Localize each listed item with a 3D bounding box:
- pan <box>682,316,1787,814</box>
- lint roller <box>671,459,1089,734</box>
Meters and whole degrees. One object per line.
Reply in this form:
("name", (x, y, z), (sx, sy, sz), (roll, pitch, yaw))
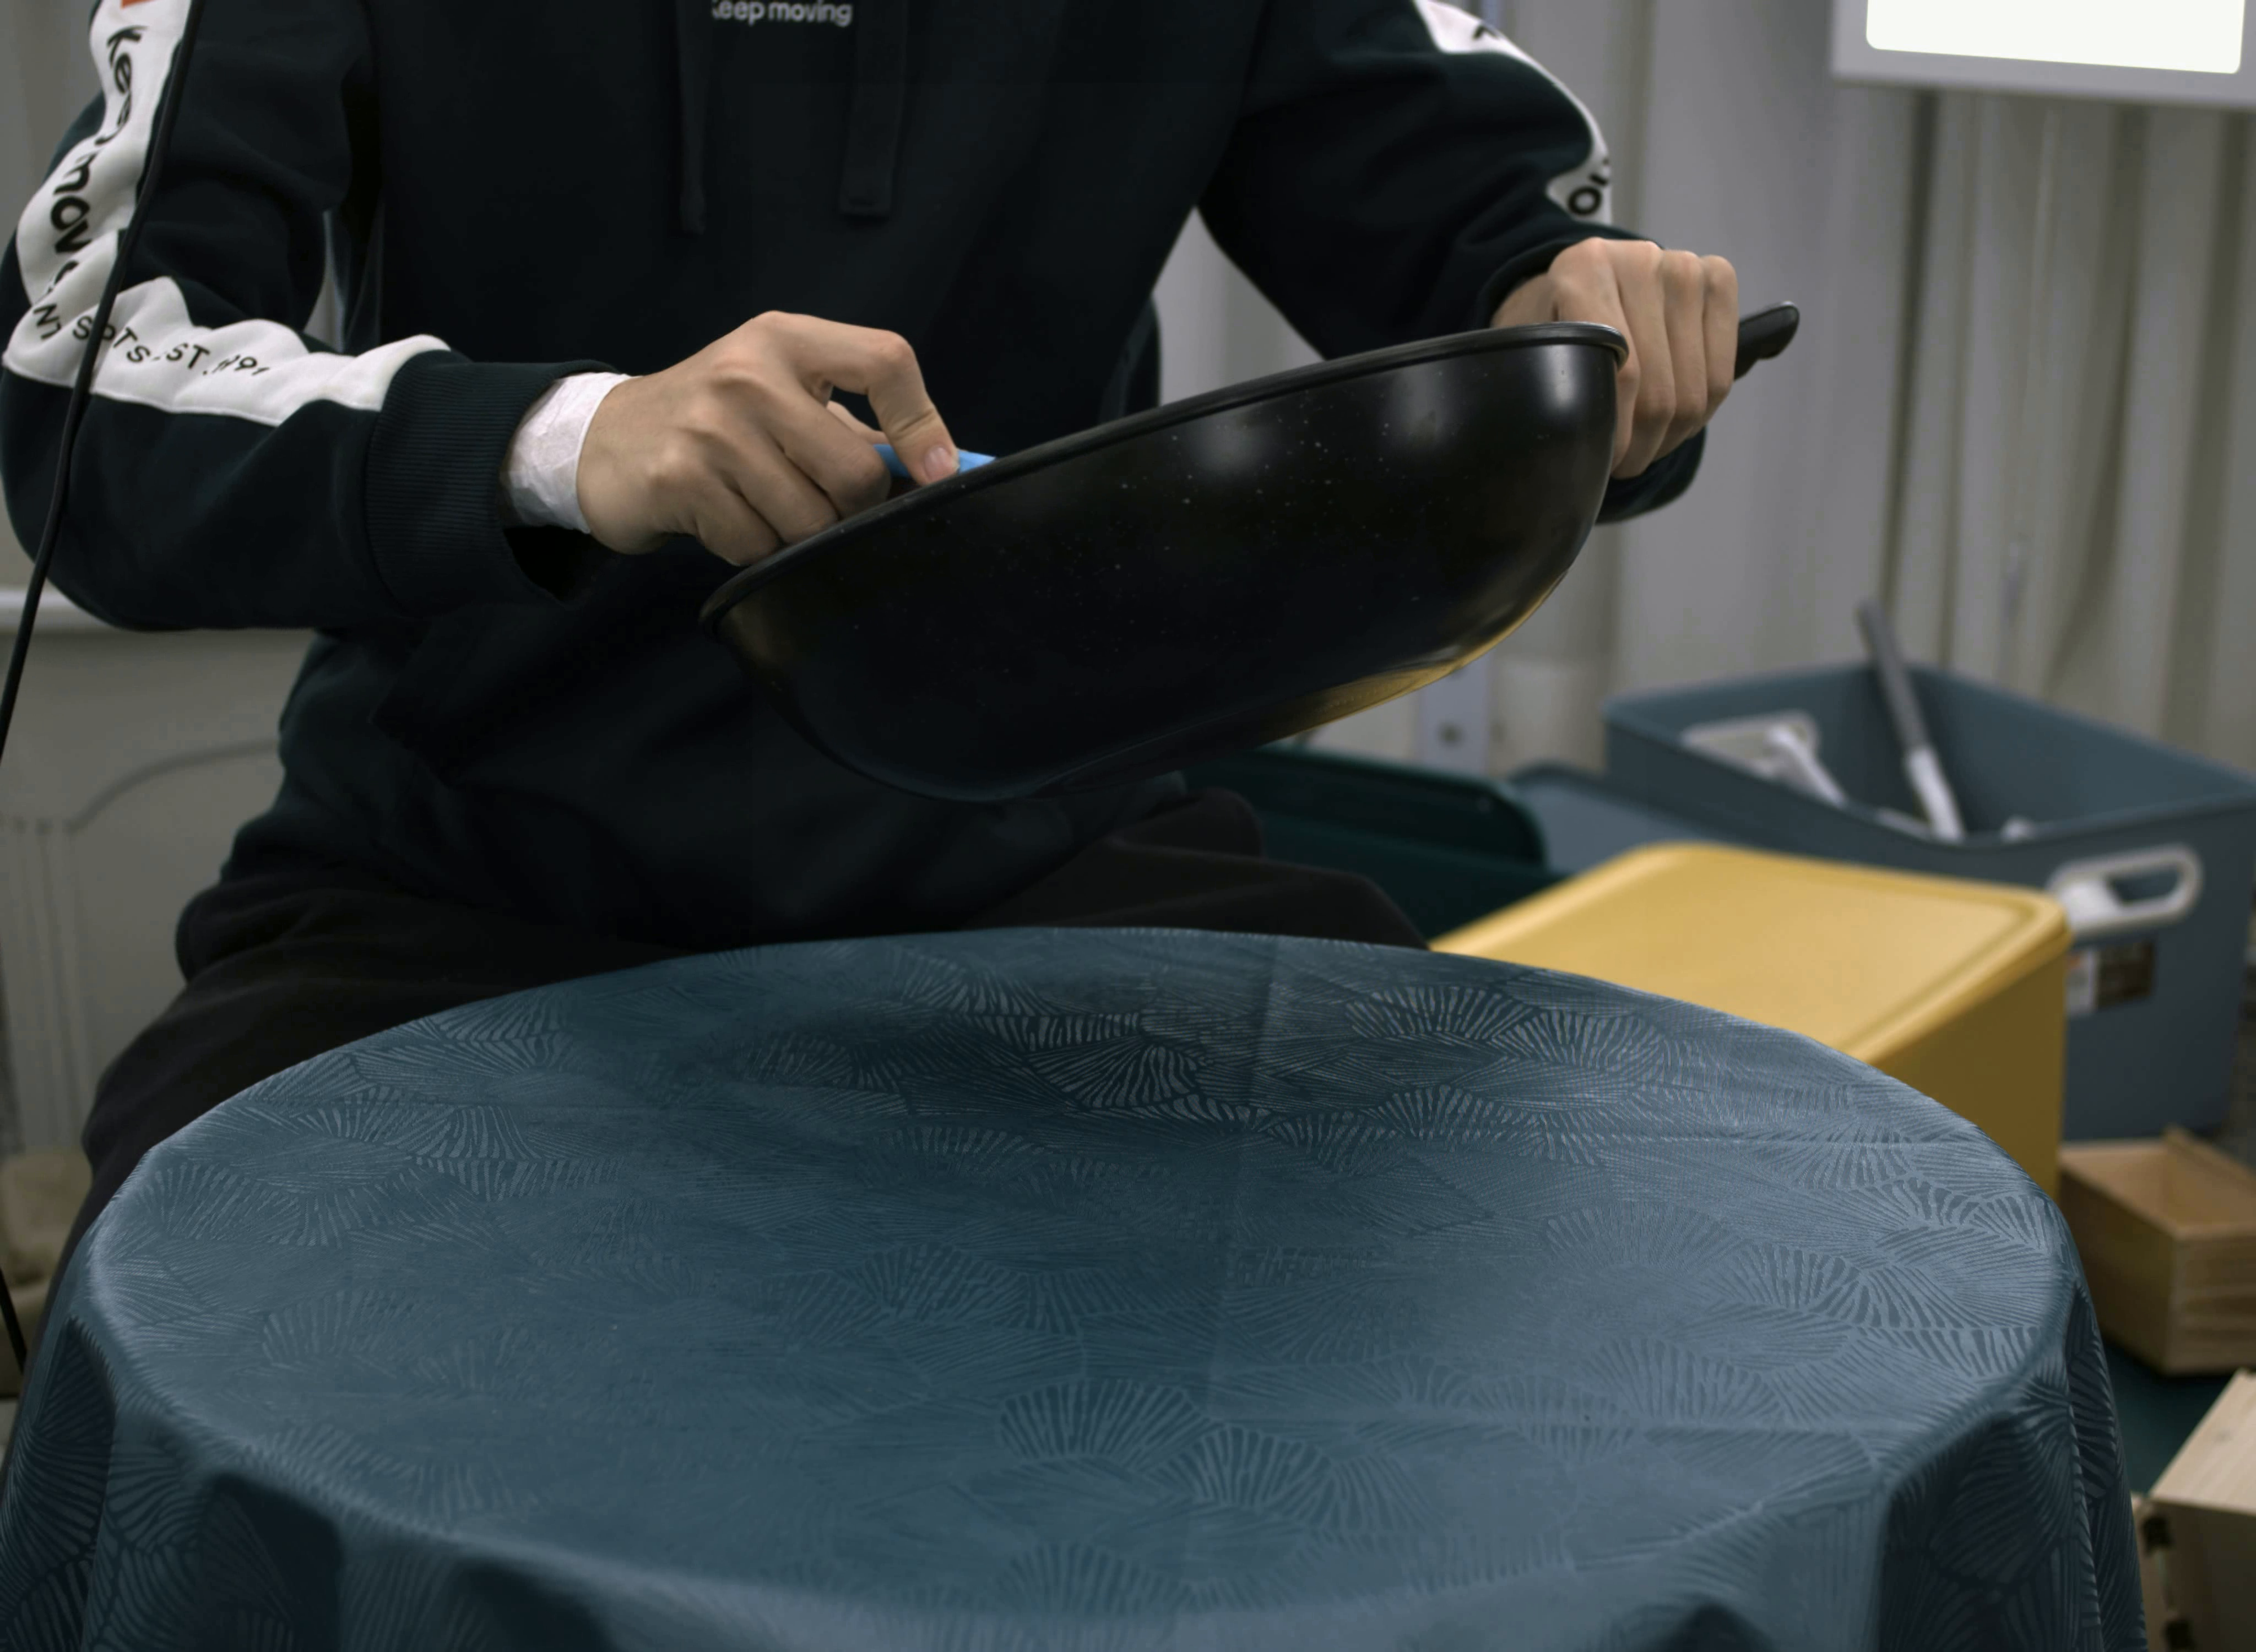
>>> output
("pan", (0.074, -0.091, 1.727), (0.479, 0.112, 0.308), (-13, -5, -44))
("lint roller", (-0.055, -0.086, 1.689), (0.179, 0.068, 0.228), (23, 13, 4))
